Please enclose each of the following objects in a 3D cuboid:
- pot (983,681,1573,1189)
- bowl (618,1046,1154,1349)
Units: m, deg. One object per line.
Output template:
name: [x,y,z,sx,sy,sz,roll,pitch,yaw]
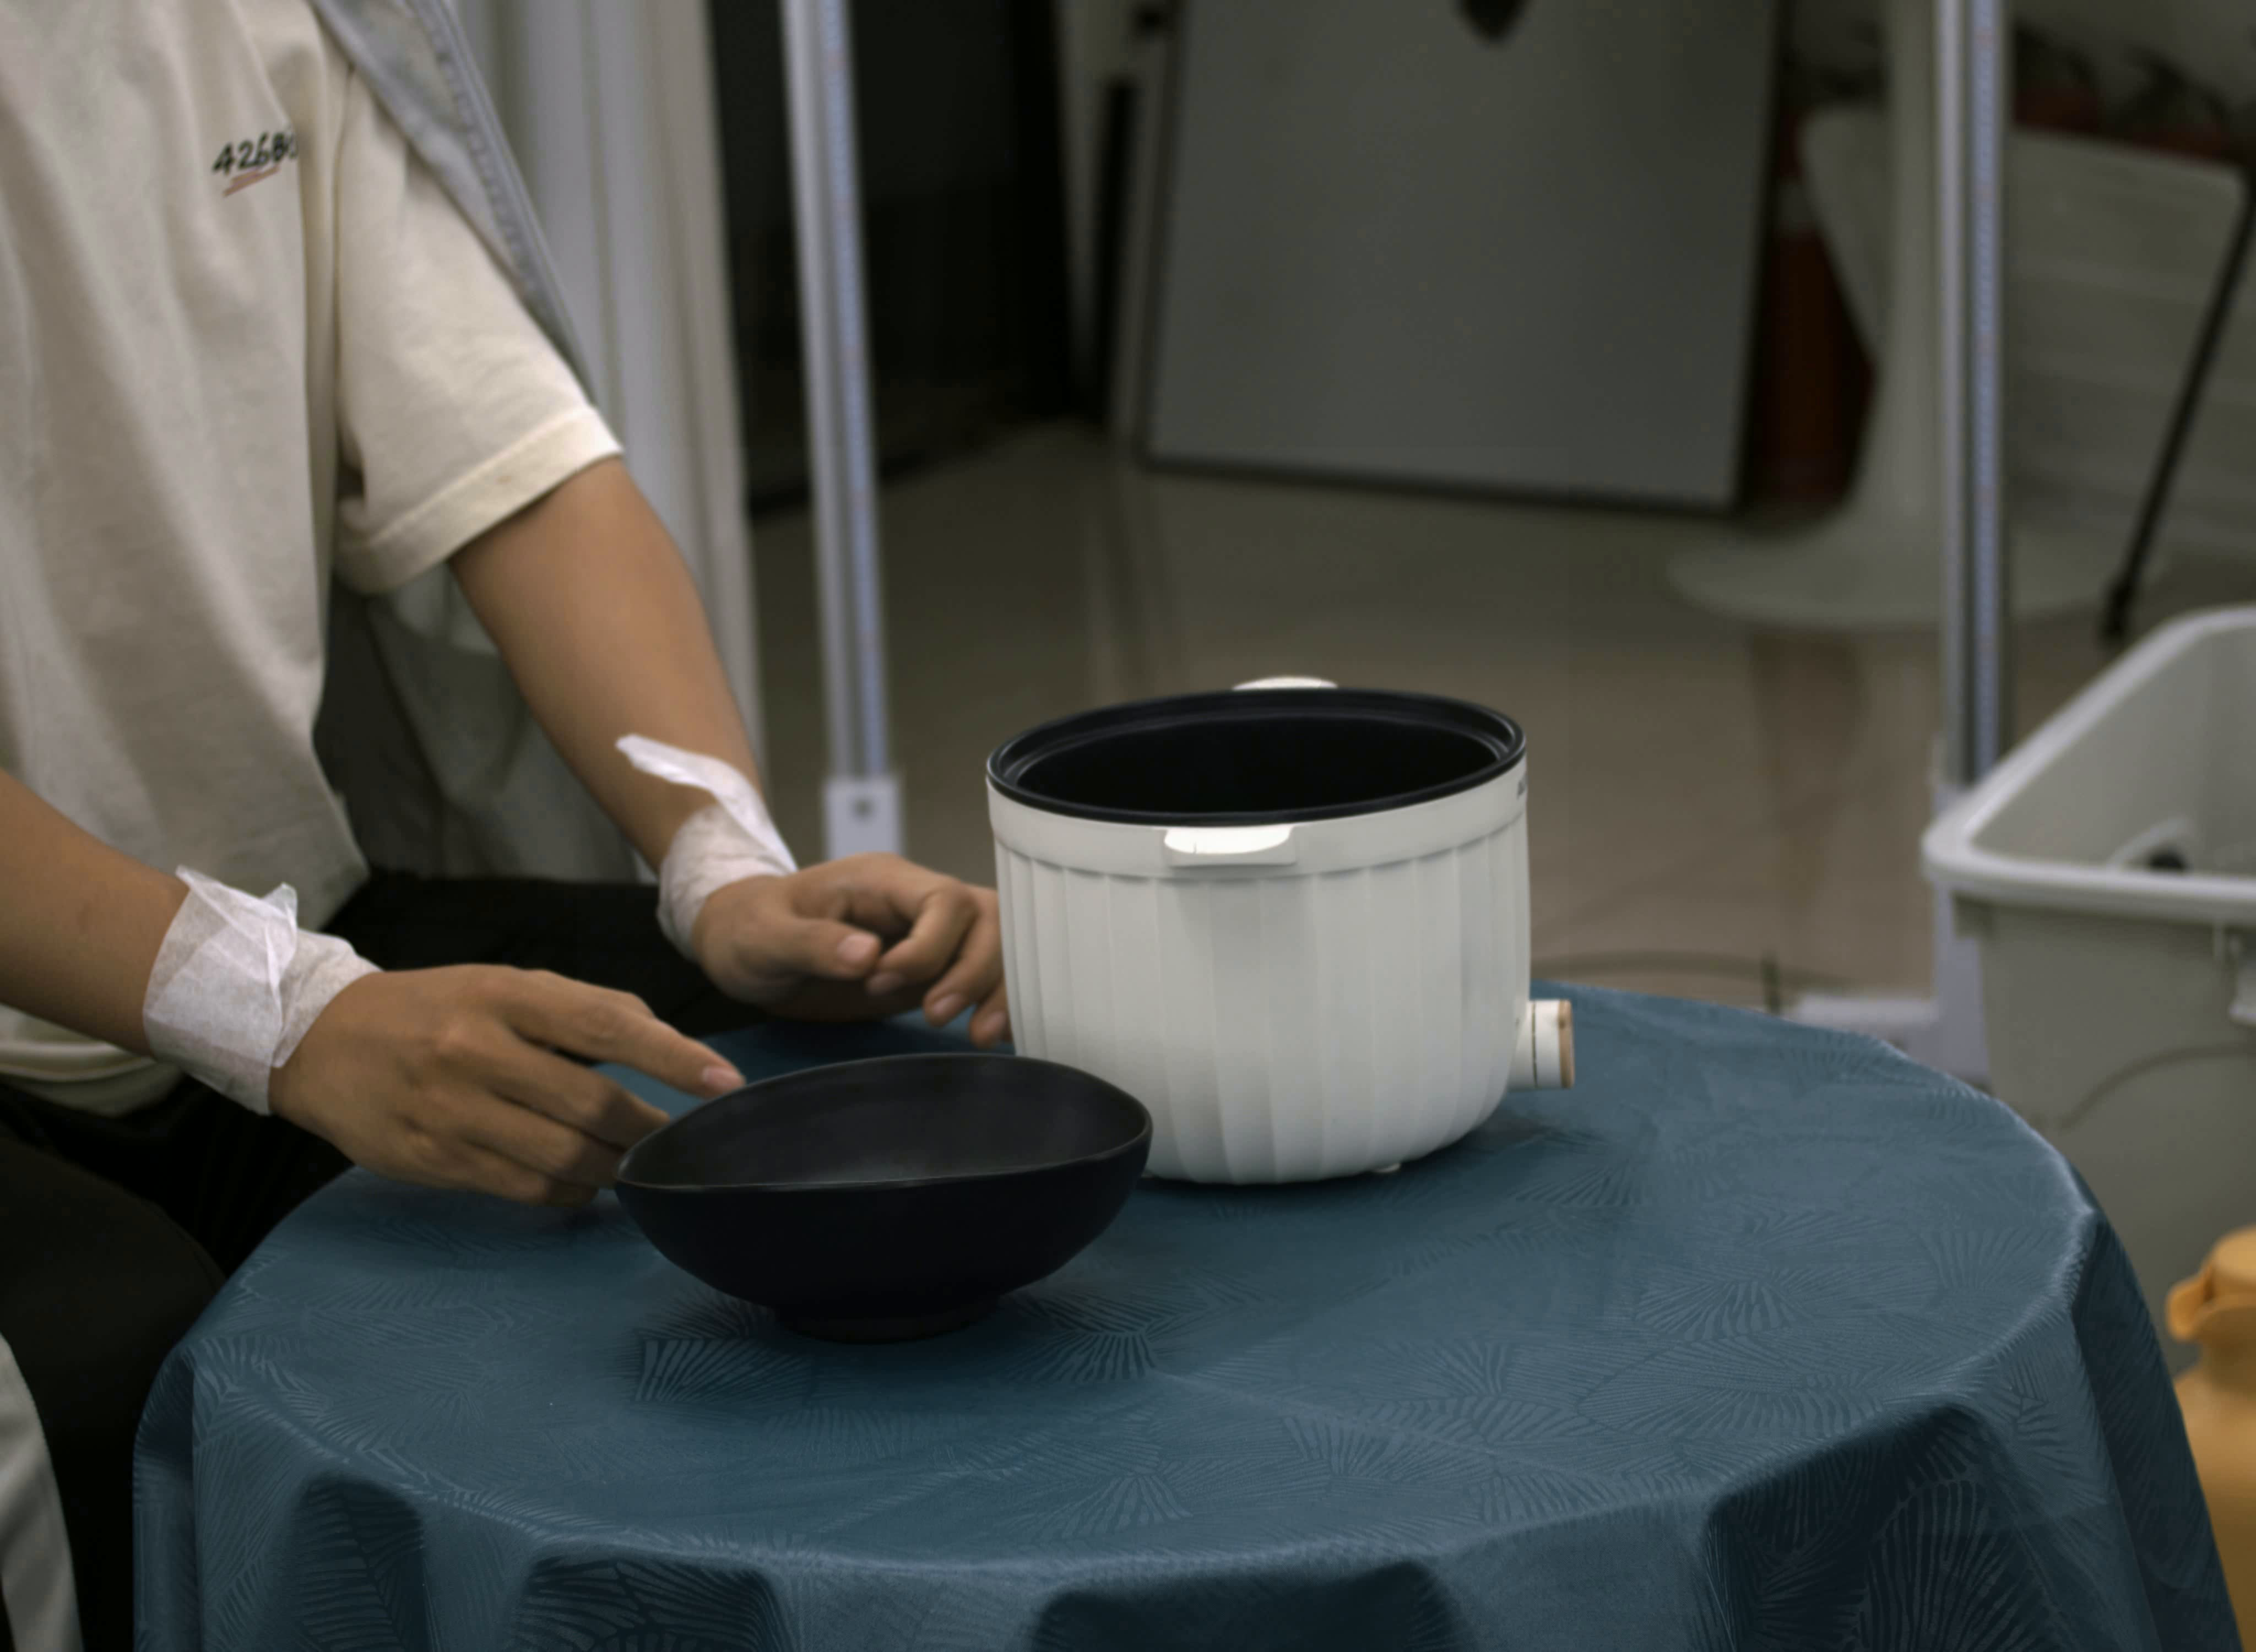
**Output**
pot: [0.051,0.038,1.808,0.189,0.144,0.240,-5,14,8]
bowl: [-0.073,0.120,1.664,0.169,0.067,0.137,-4,14,7]
